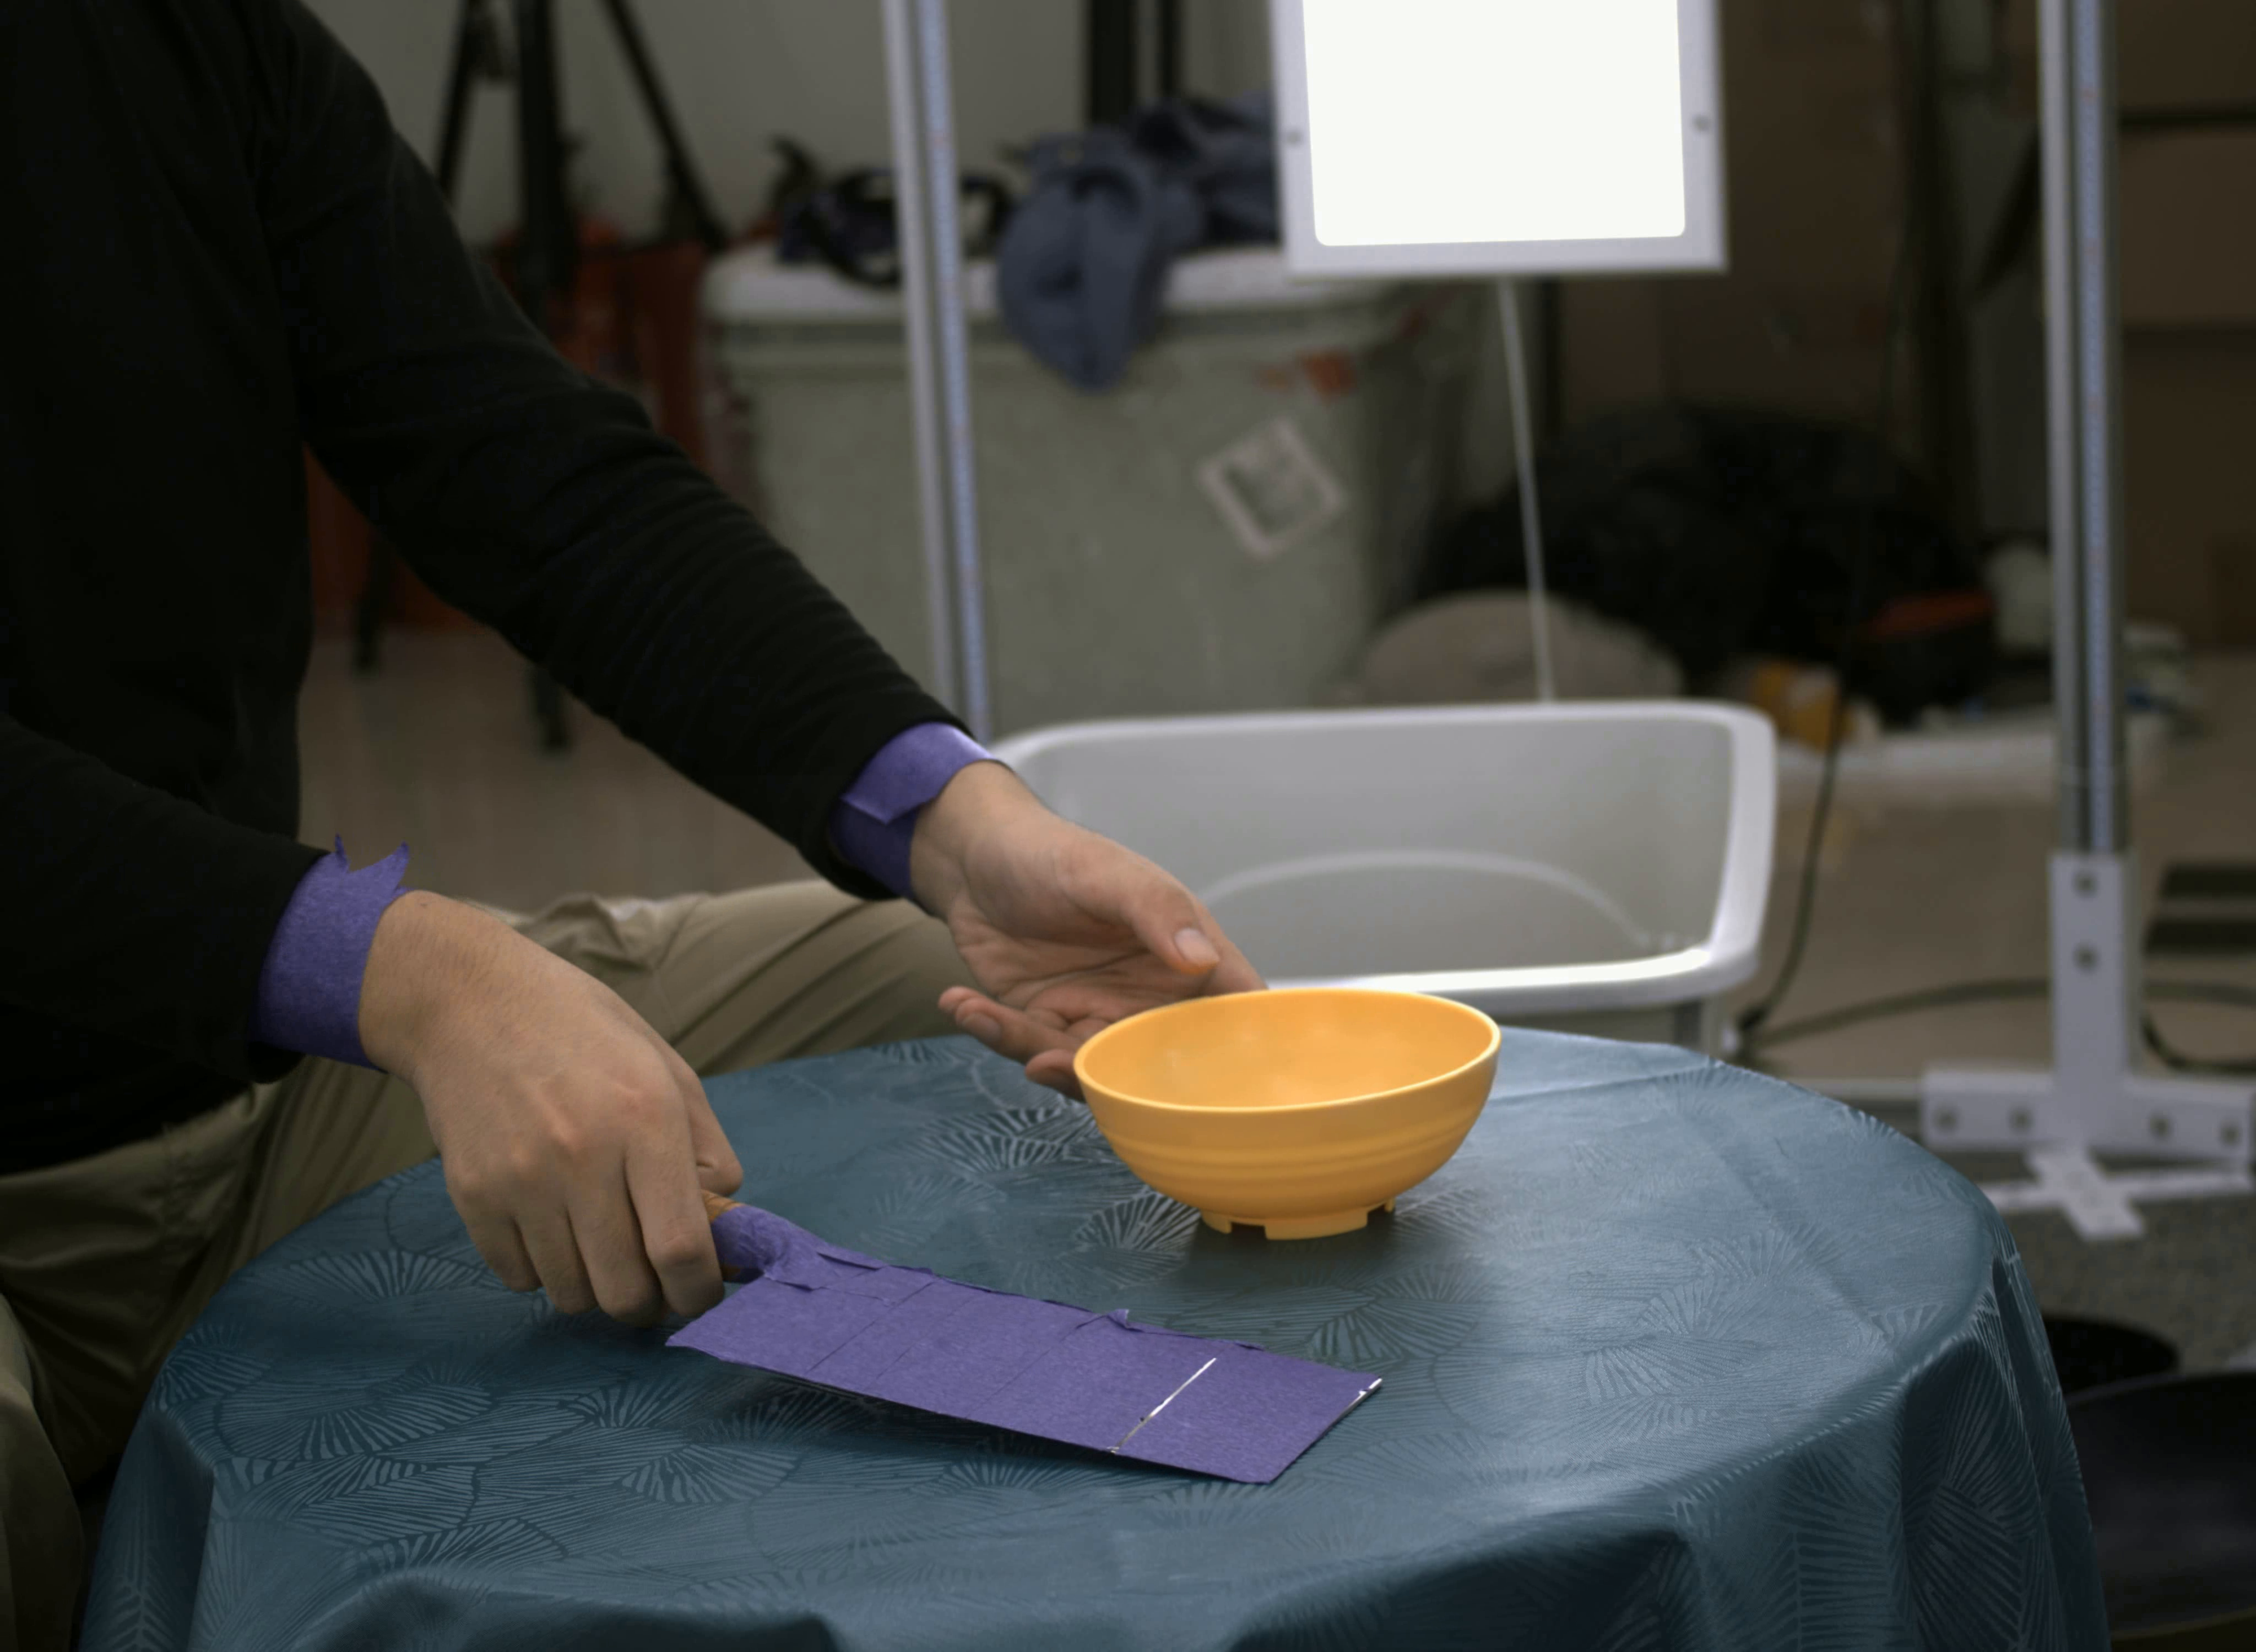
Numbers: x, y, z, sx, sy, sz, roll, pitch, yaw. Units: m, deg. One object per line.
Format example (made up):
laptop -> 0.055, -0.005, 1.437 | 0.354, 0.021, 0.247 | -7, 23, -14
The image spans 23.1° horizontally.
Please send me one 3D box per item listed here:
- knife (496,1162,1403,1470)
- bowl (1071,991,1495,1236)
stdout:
knife -> -0.075, 0.152, 1.721 | 0.320, 0.032, 0.101 | 8, 18, 27
bowl -> 0.053, 0.101, 1.856 | 0.145, 0.060, 0.145 | -4, 13, -1
